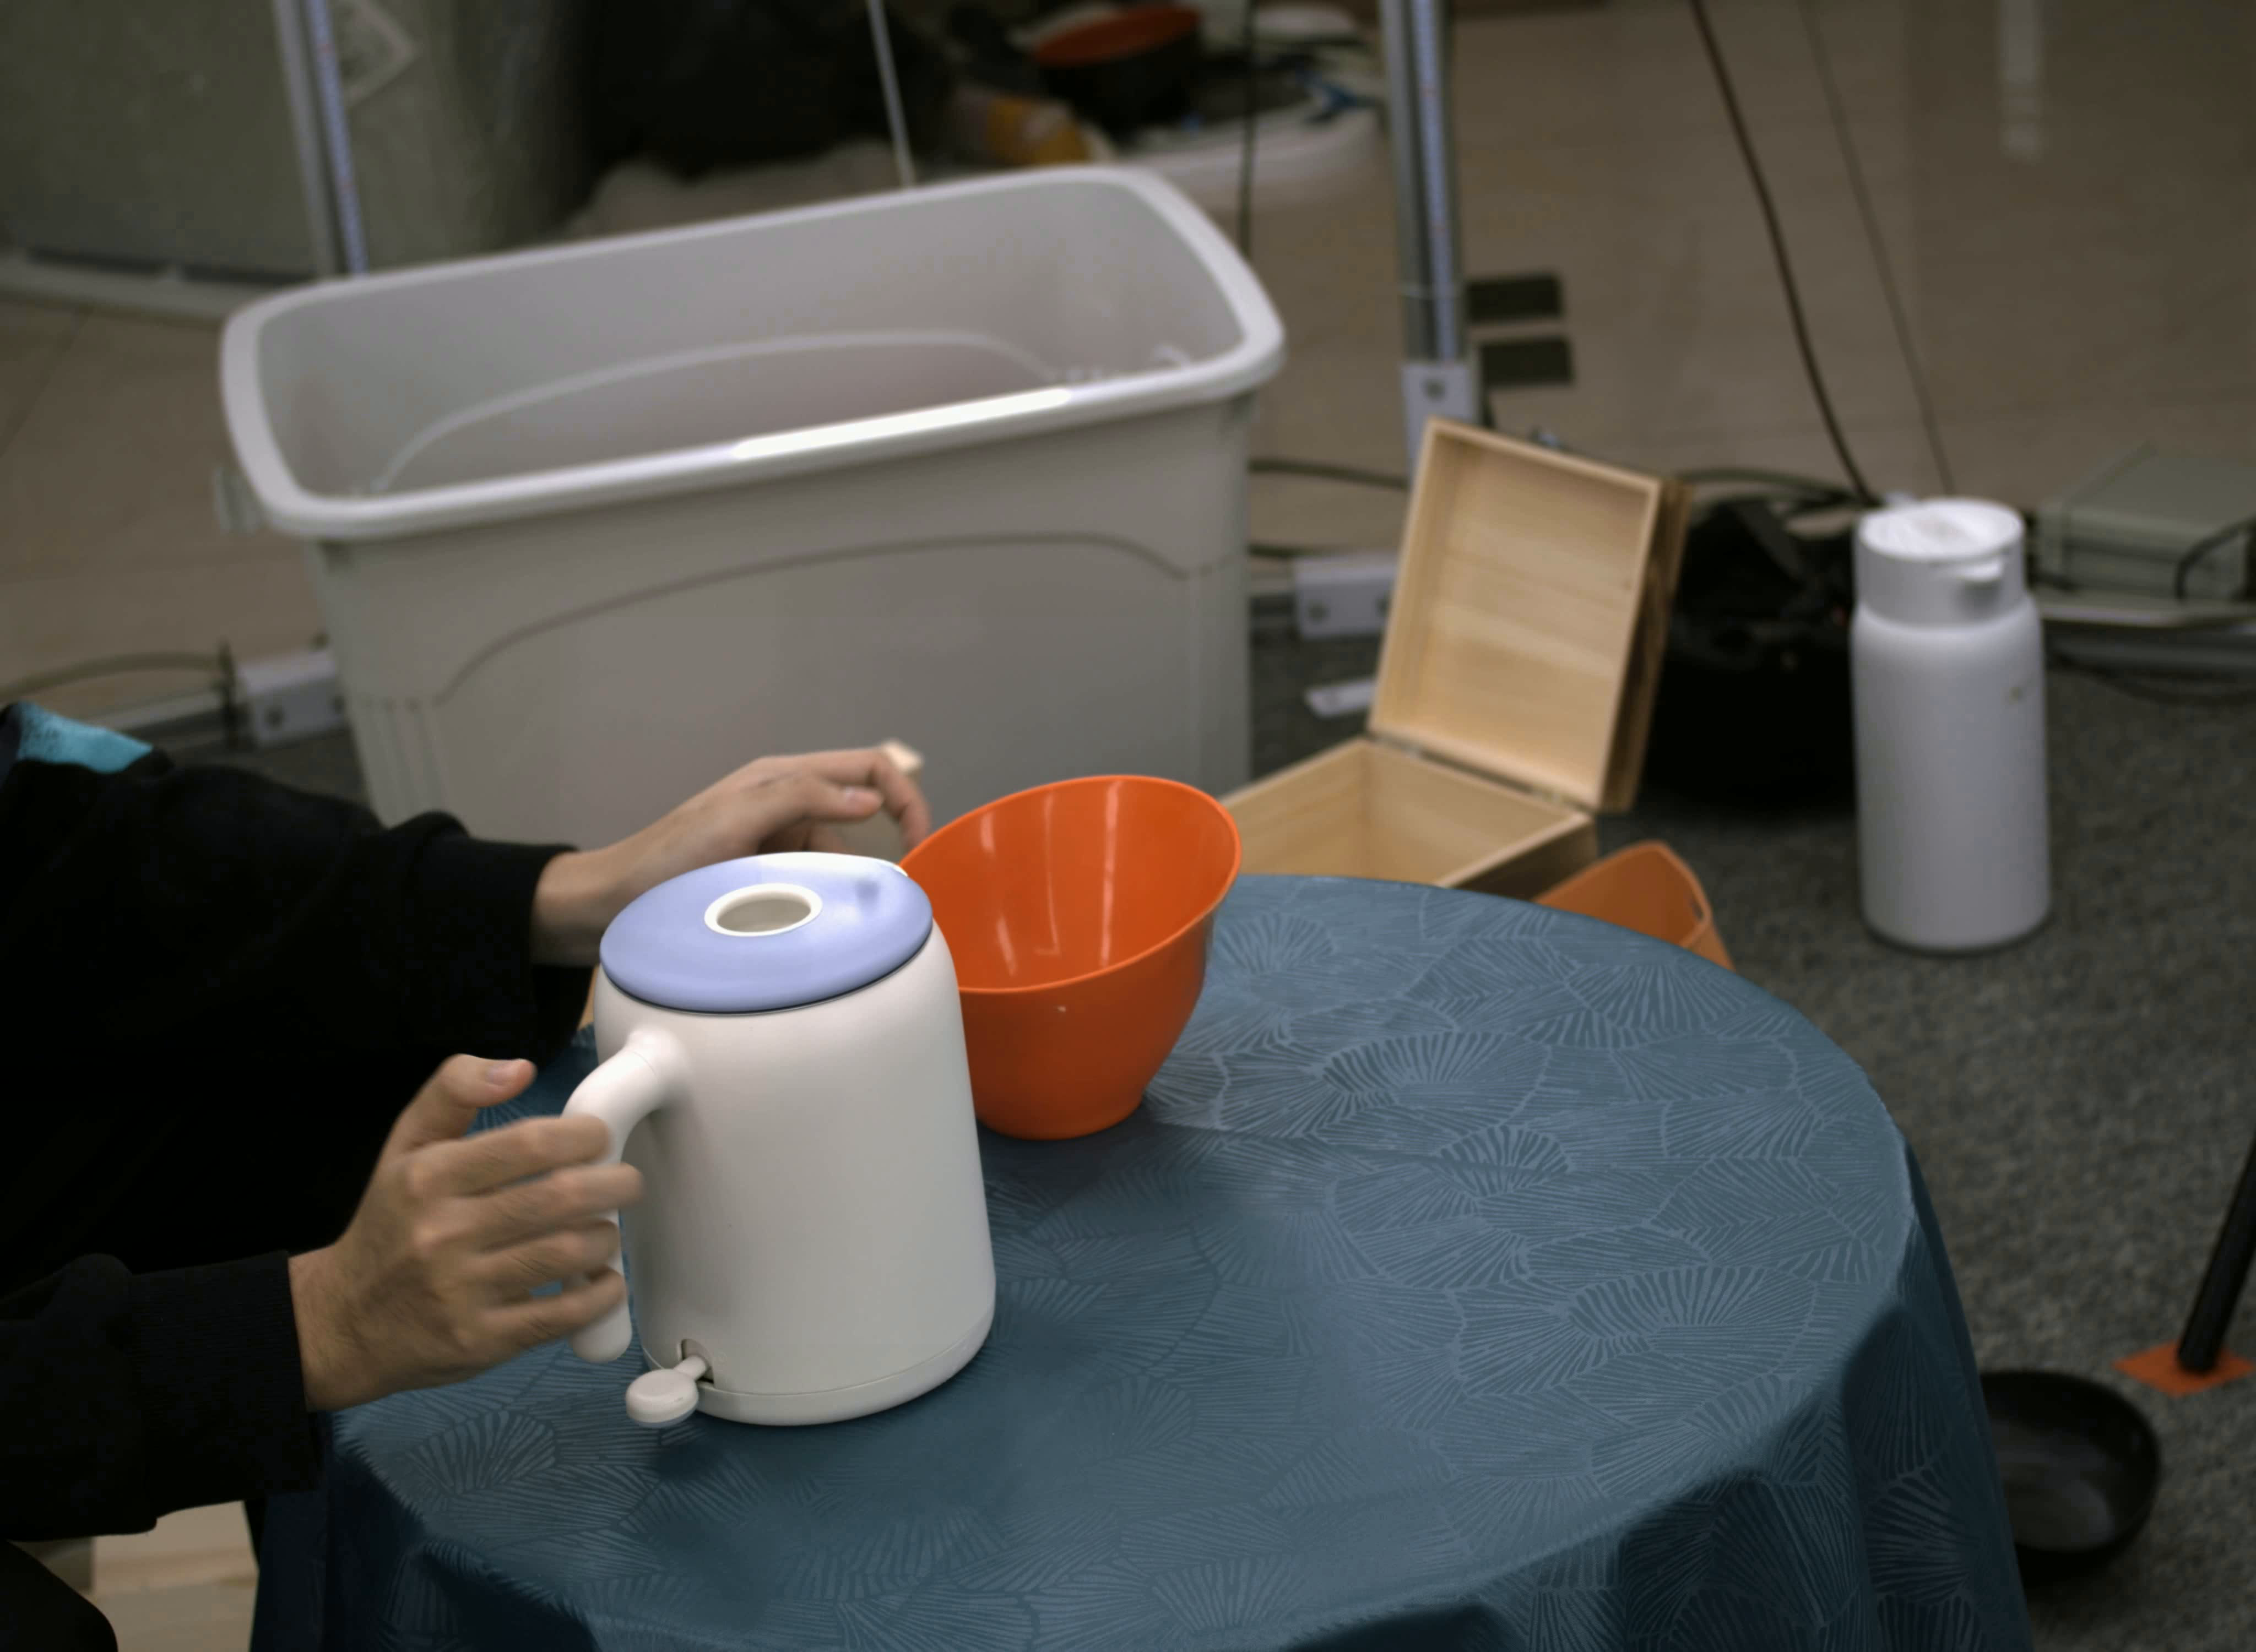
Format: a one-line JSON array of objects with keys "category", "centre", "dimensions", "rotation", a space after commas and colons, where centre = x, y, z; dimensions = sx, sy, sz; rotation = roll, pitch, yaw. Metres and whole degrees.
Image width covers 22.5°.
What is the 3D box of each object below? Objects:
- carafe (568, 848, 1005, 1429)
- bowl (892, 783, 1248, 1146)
[{"category": "carafe", "centre": [-0.132, 0.121, 2.012], "dimensions": [0.131, 0.185, 0.189], "rotation": [12, 33, 35]}, {"category": "bowl", "centre": [-0.023, 0.060, 2.198], "dimensions": [0.148, 0.106, 0.146], "rotation": [-5, 25, 2]}]
